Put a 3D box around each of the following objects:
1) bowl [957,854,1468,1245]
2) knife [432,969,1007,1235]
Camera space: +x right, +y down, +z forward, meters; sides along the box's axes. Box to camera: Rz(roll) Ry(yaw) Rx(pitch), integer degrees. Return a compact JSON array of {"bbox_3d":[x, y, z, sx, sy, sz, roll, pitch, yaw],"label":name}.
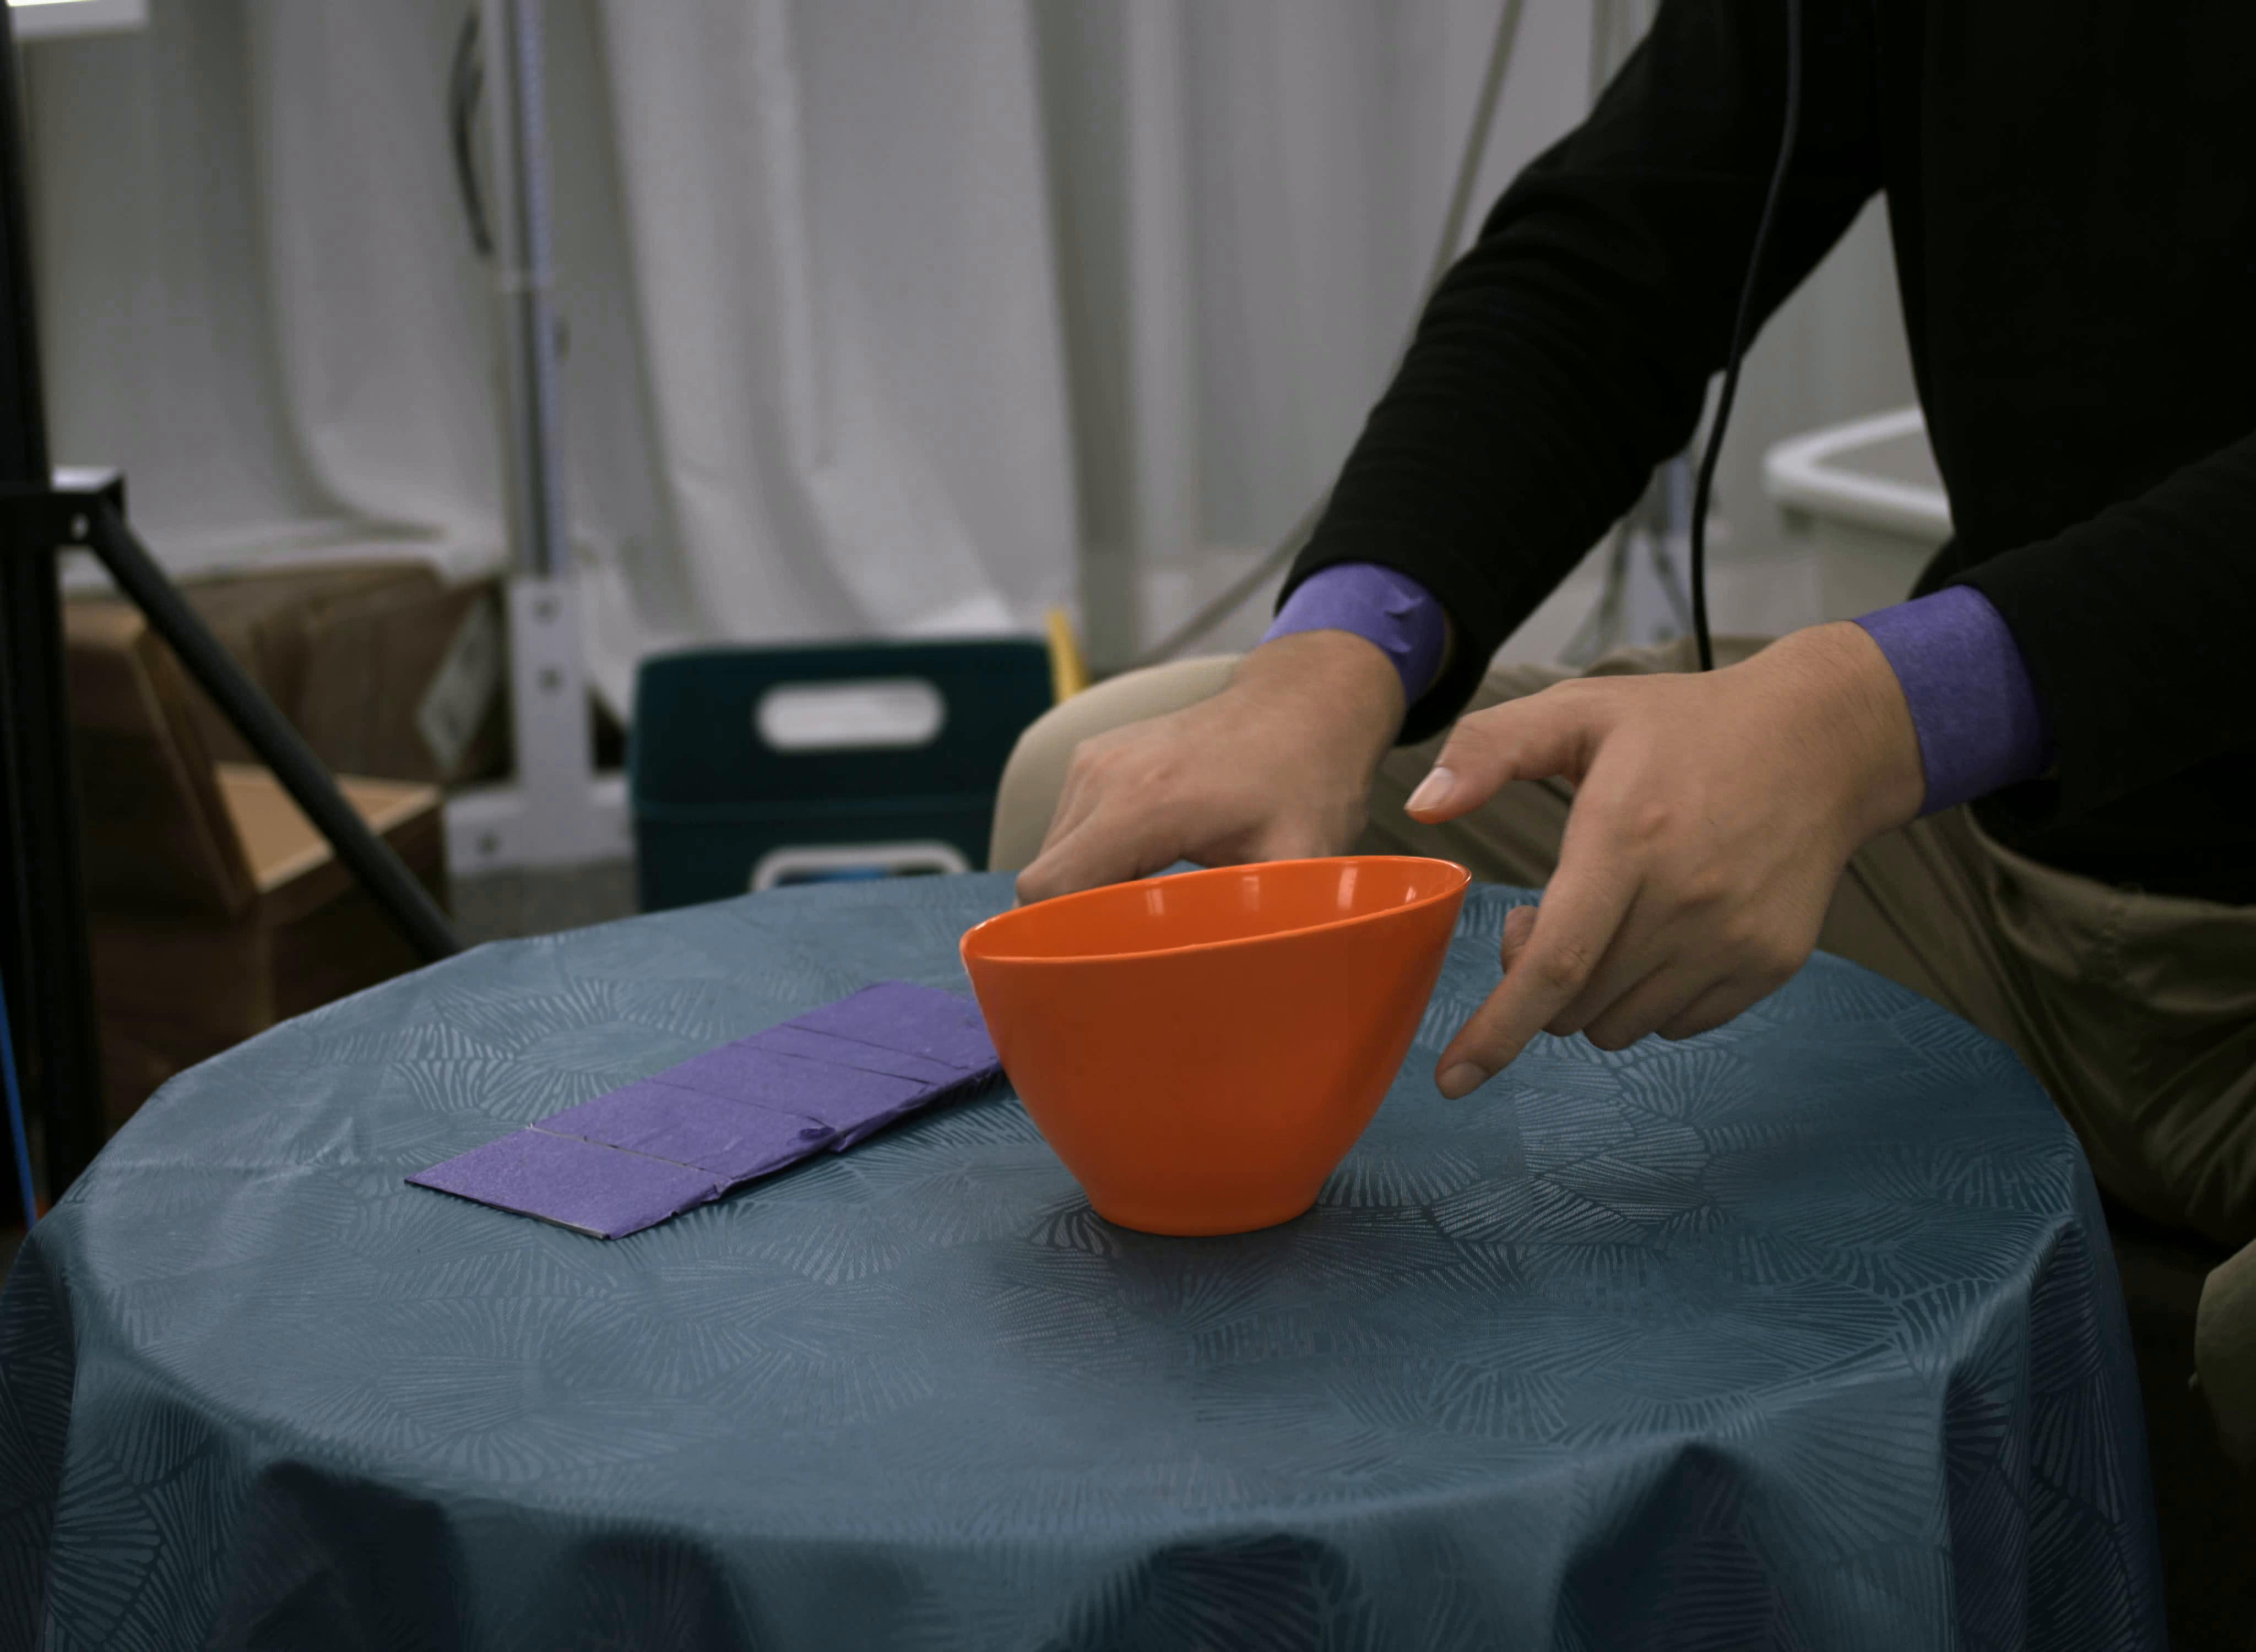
[{"bbox_3d":[0.026,0.063,1.524,0.147,0.104,0.149,-4,15,0],"label":"bowl"},{"bbox_3d":[-0.079,0.067,1.664,0.106,0.032,0.308,13,23,41],"label":"knife"}]
